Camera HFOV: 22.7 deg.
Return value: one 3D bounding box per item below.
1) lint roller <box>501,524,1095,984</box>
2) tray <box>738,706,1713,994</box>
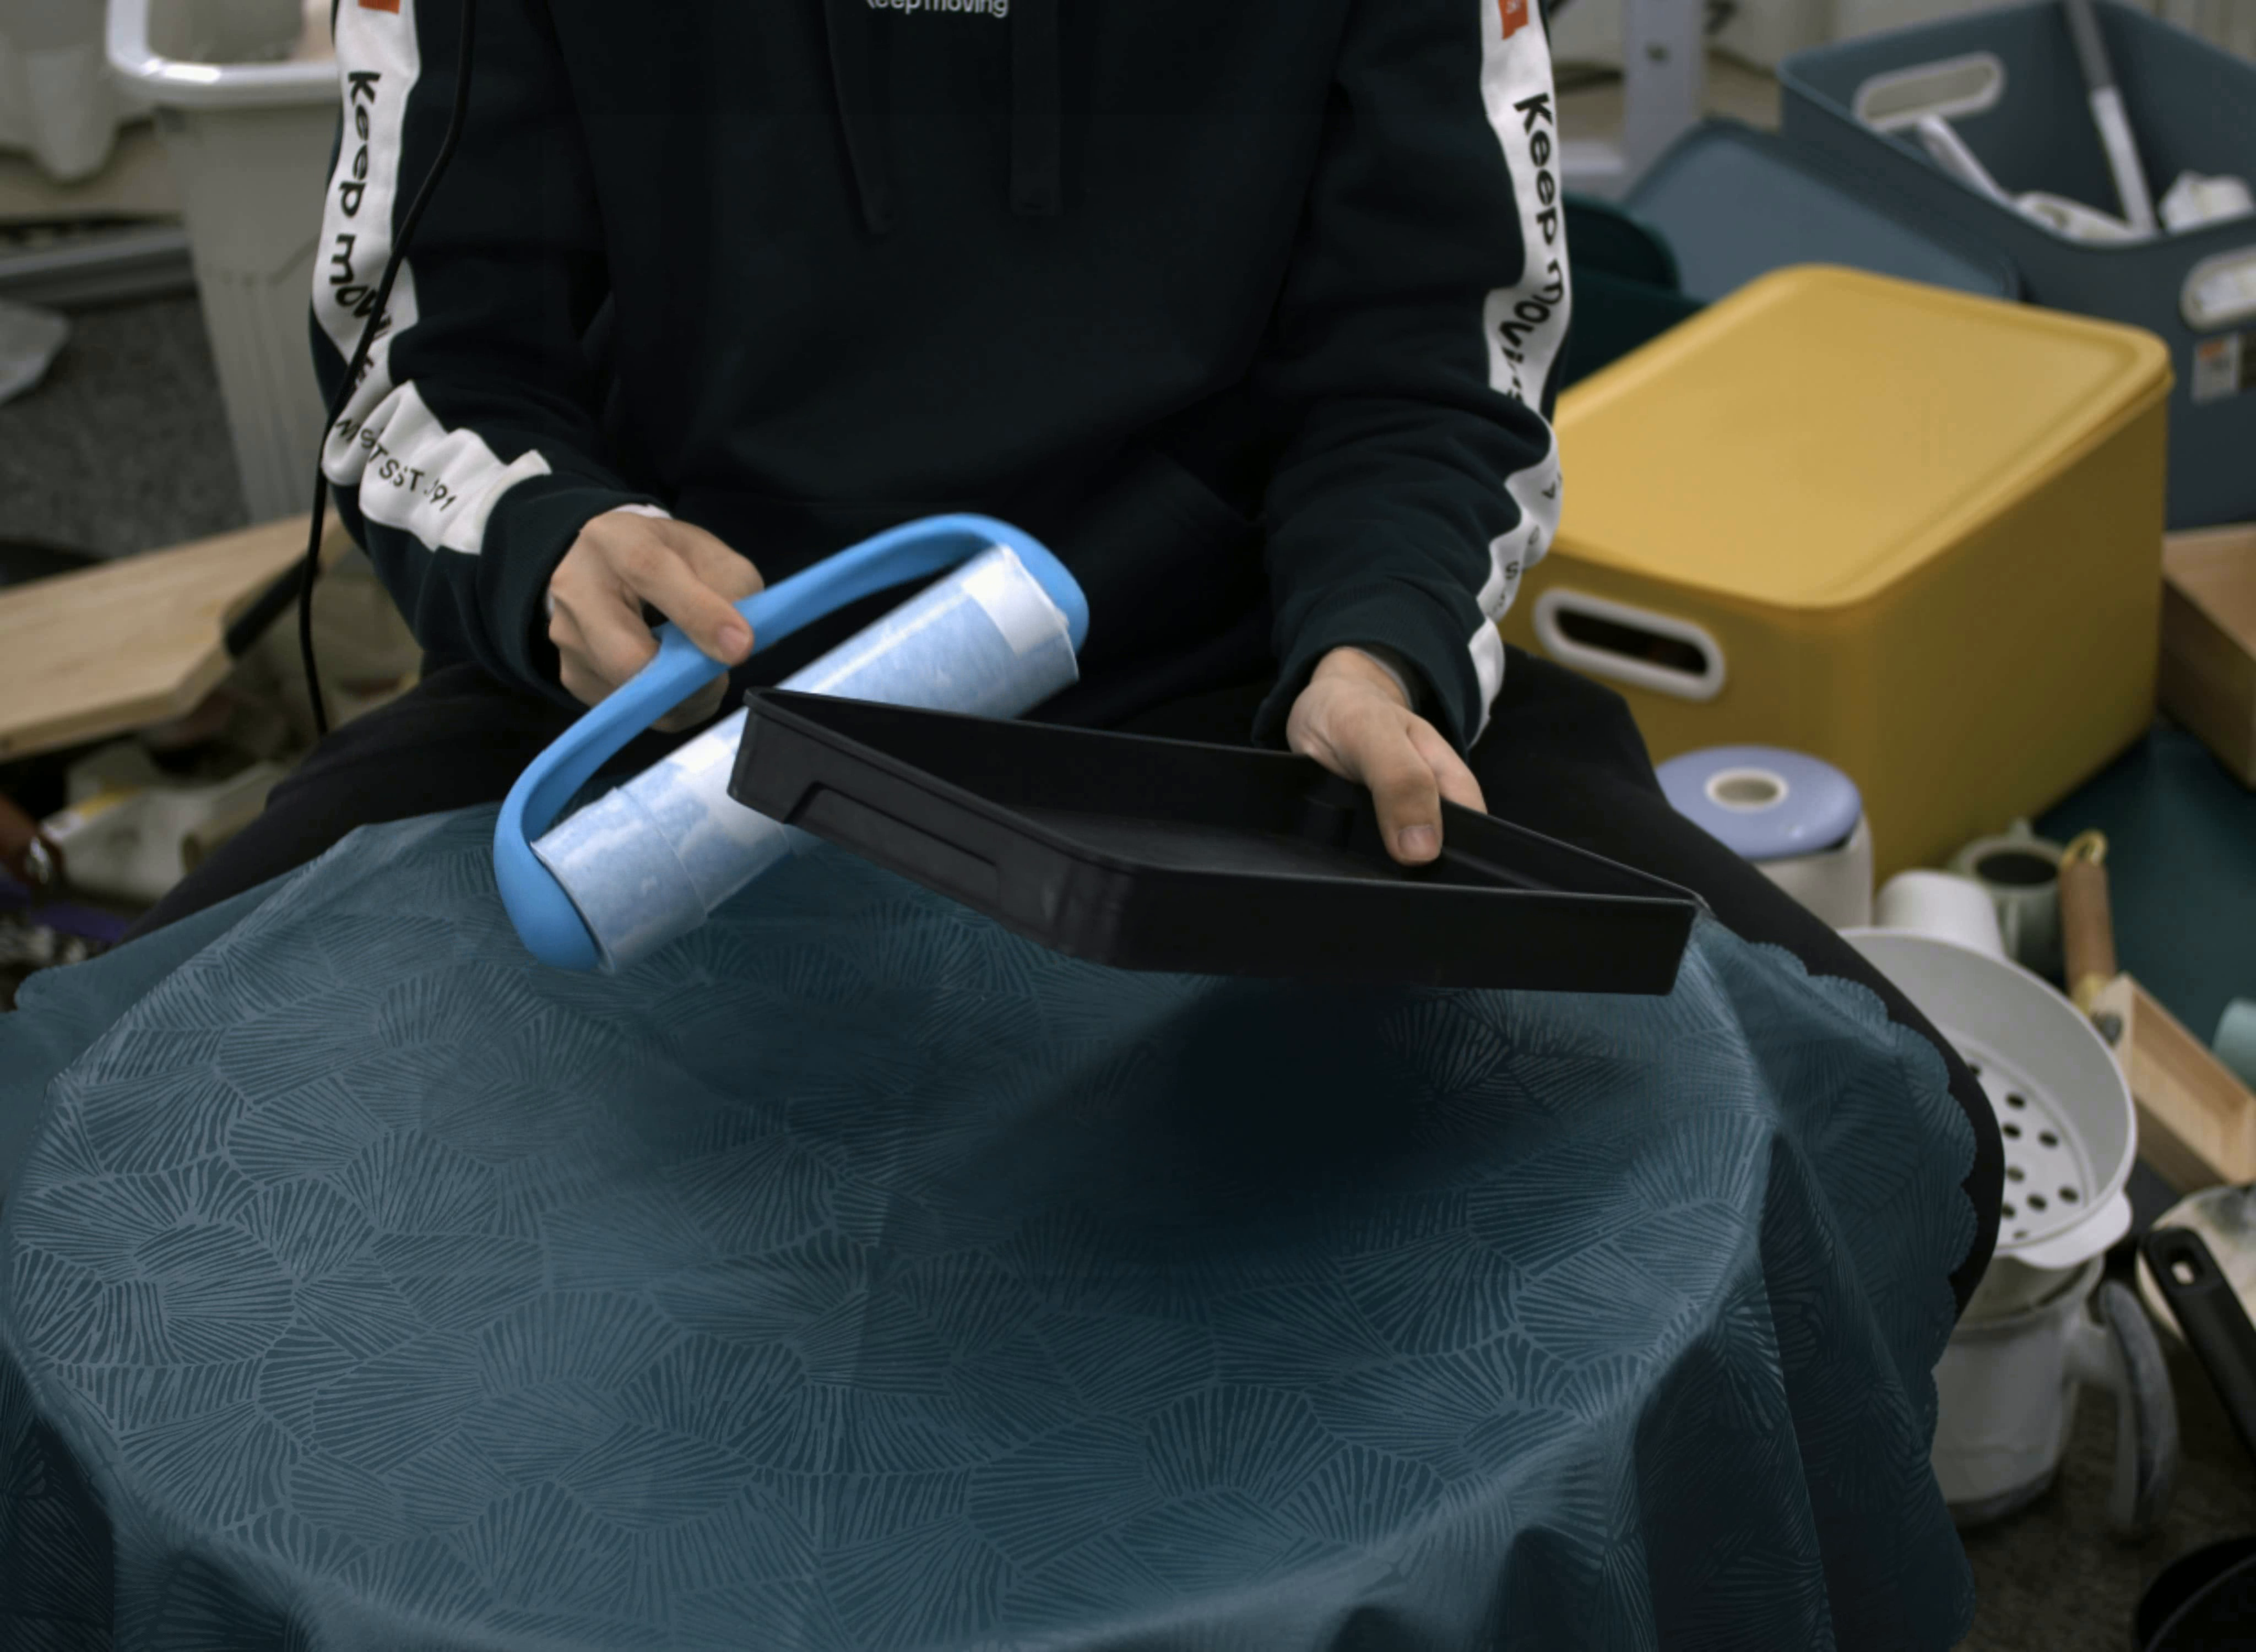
[{"bbox_3d":[-0.138,-0.041,1.959,0.230,0.067,0.181,-35,34,-17],"label":"lint roller"},{"bbox_3d":[0.035,0.010,1.841,0.184,0.037,0.319,22,12,38],"label":"tray"}]
